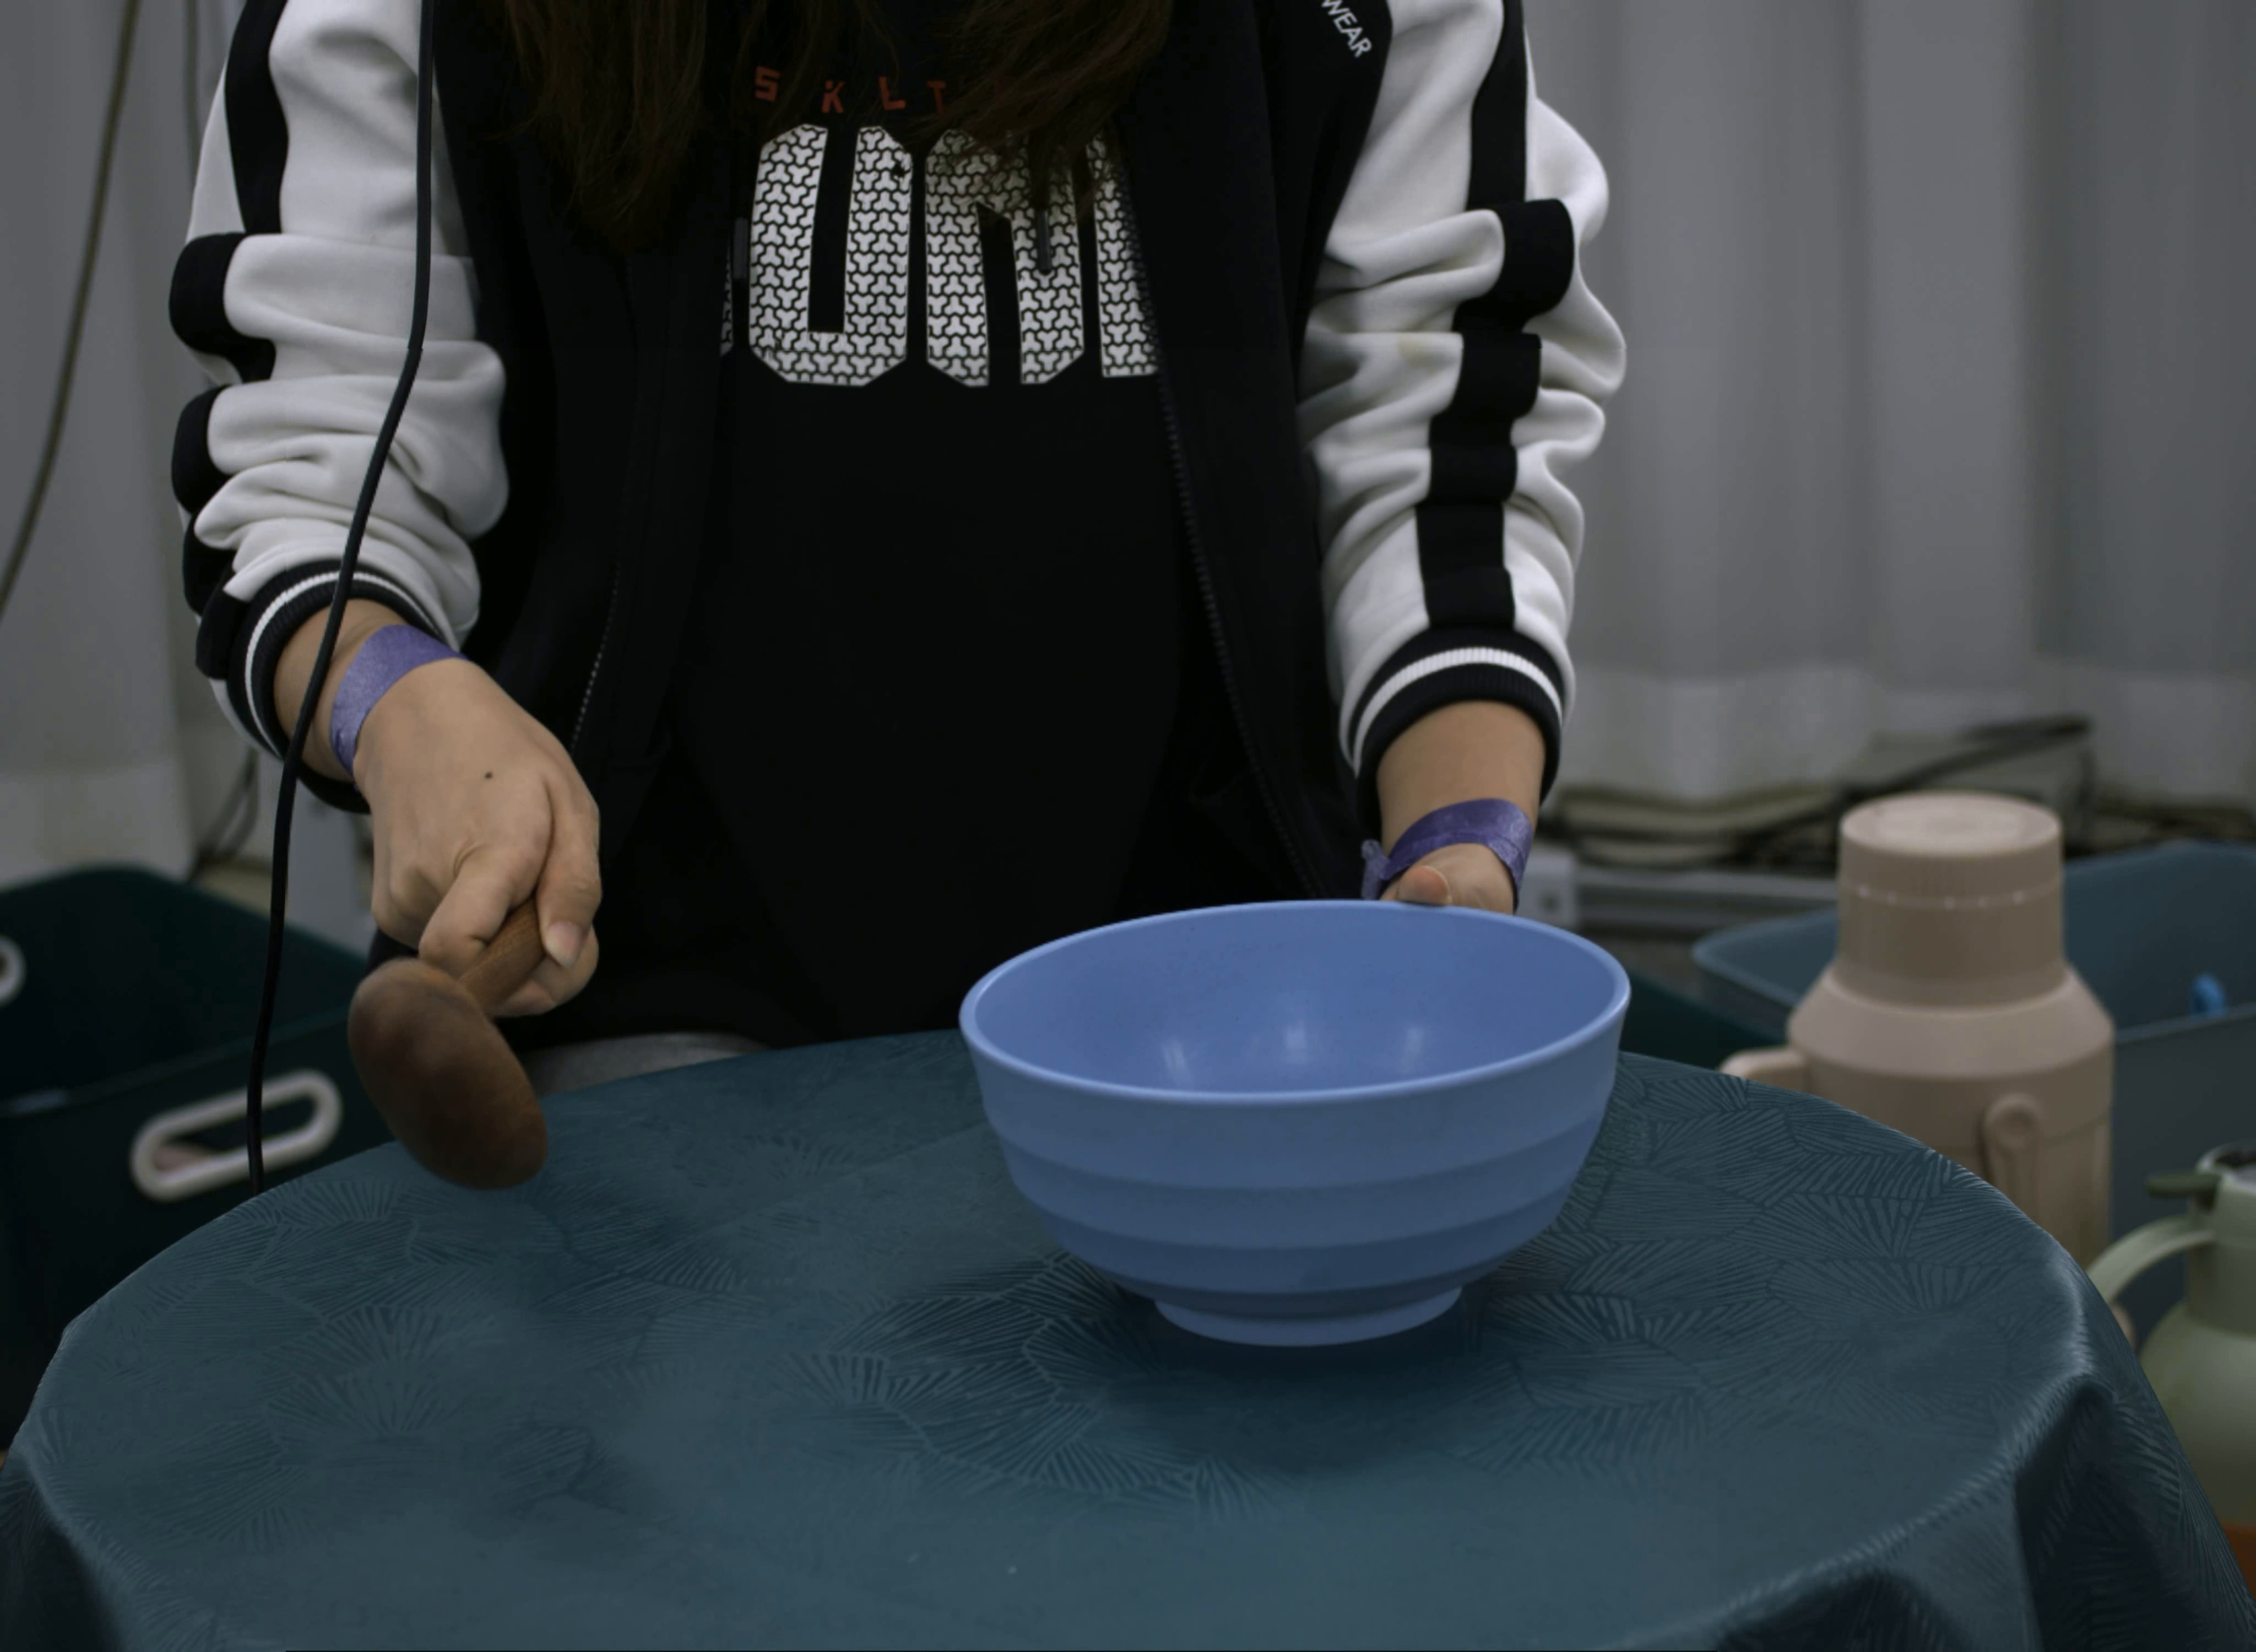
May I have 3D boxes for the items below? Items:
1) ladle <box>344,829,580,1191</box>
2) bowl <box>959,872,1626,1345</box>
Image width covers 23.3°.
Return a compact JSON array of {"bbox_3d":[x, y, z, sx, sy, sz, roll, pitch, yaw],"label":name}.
[{"bbox_3d":[-0.181,0.040,1.634,0.065,0.076,0.262,-22,13,13],"label":"ladle"},{"bbox_3d":[0.053,0.091,1.611,0.196,0.095,0.198,-7,18,2],"label":"bowl"}]
